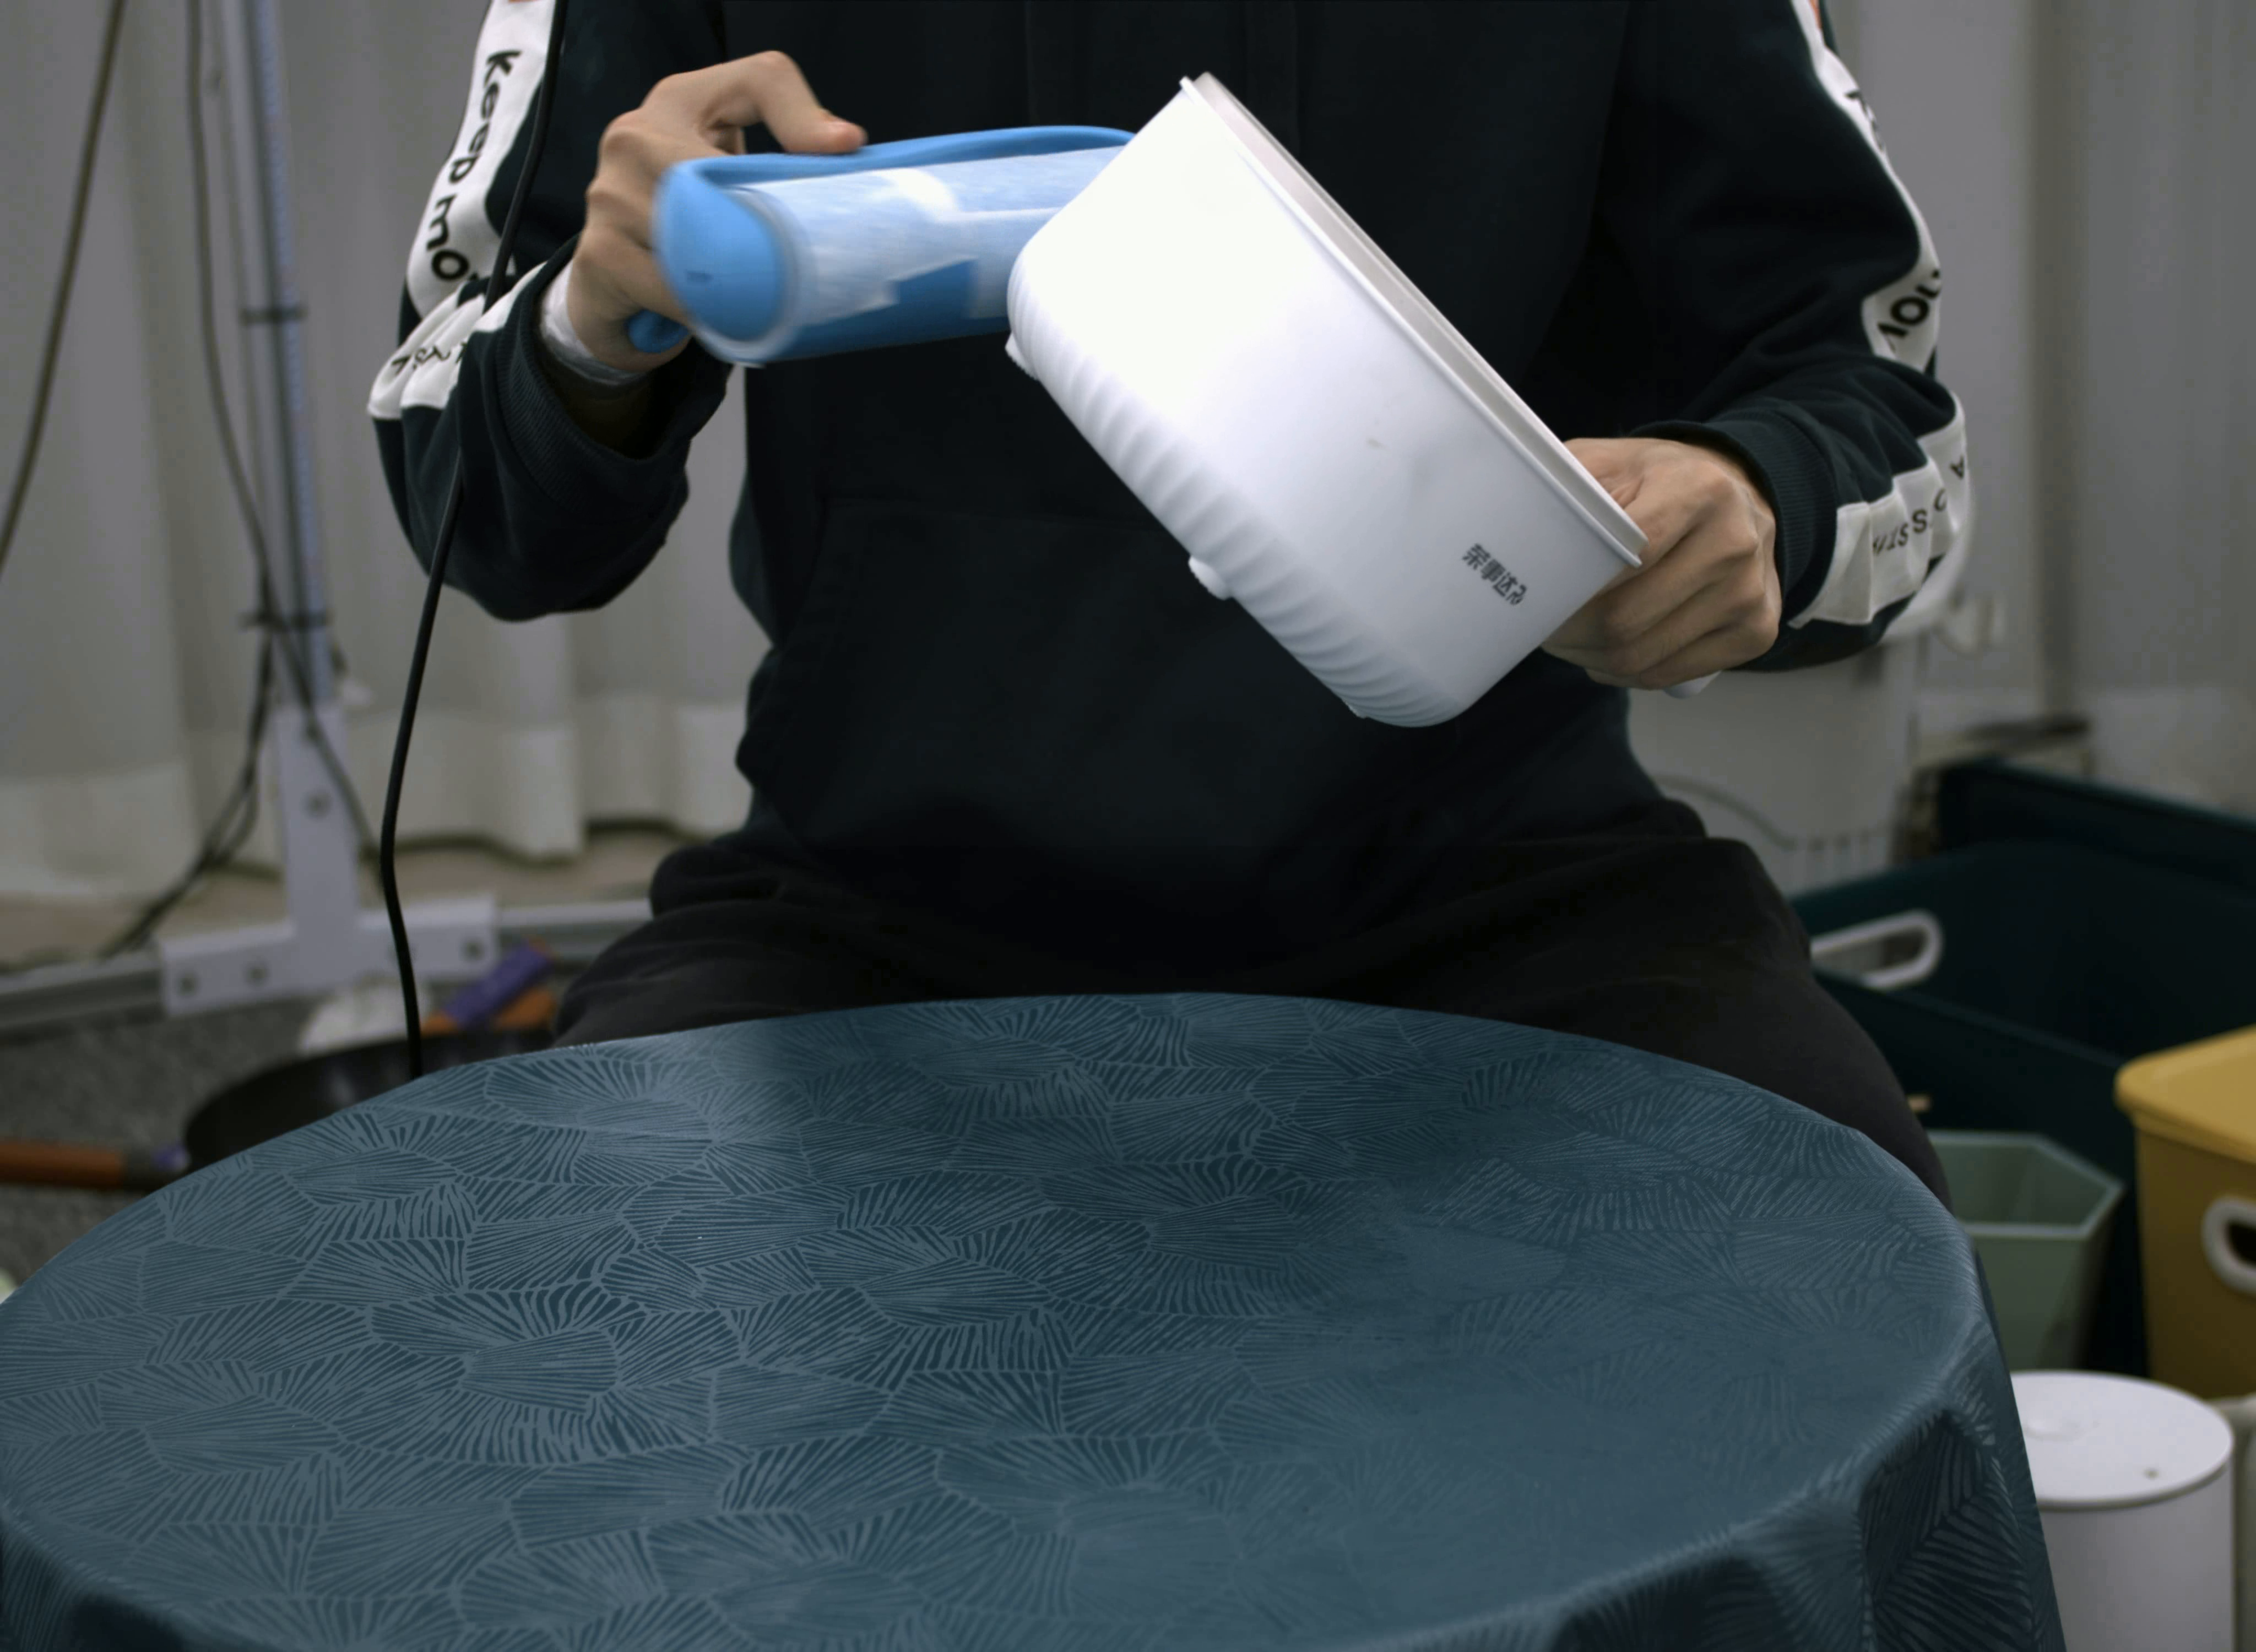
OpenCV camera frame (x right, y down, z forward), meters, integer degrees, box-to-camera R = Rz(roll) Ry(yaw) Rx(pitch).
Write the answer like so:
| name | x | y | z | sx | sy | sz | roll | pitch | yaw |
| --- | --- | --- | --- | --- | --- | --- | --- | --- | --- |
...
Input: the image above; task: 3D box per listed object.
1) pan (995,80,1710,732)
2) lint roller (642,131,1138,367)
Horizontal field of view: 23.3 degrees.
| name | x | y | z | sx | sy | sz | roll | pitch | yaw |
| --- | --- | --- | --- | --- | --- | --- | --- | --- | --- |
| pan | 0.082 | -0.094 | 1.716 | 0.204 | 0.102 | 0.350 | 48 | 5 | 32 |
| lint roller | -0.091 | -0.182 | 1.750 | 0.180 | 0.068 | 0.228 | 1 | 11 | 38 |
